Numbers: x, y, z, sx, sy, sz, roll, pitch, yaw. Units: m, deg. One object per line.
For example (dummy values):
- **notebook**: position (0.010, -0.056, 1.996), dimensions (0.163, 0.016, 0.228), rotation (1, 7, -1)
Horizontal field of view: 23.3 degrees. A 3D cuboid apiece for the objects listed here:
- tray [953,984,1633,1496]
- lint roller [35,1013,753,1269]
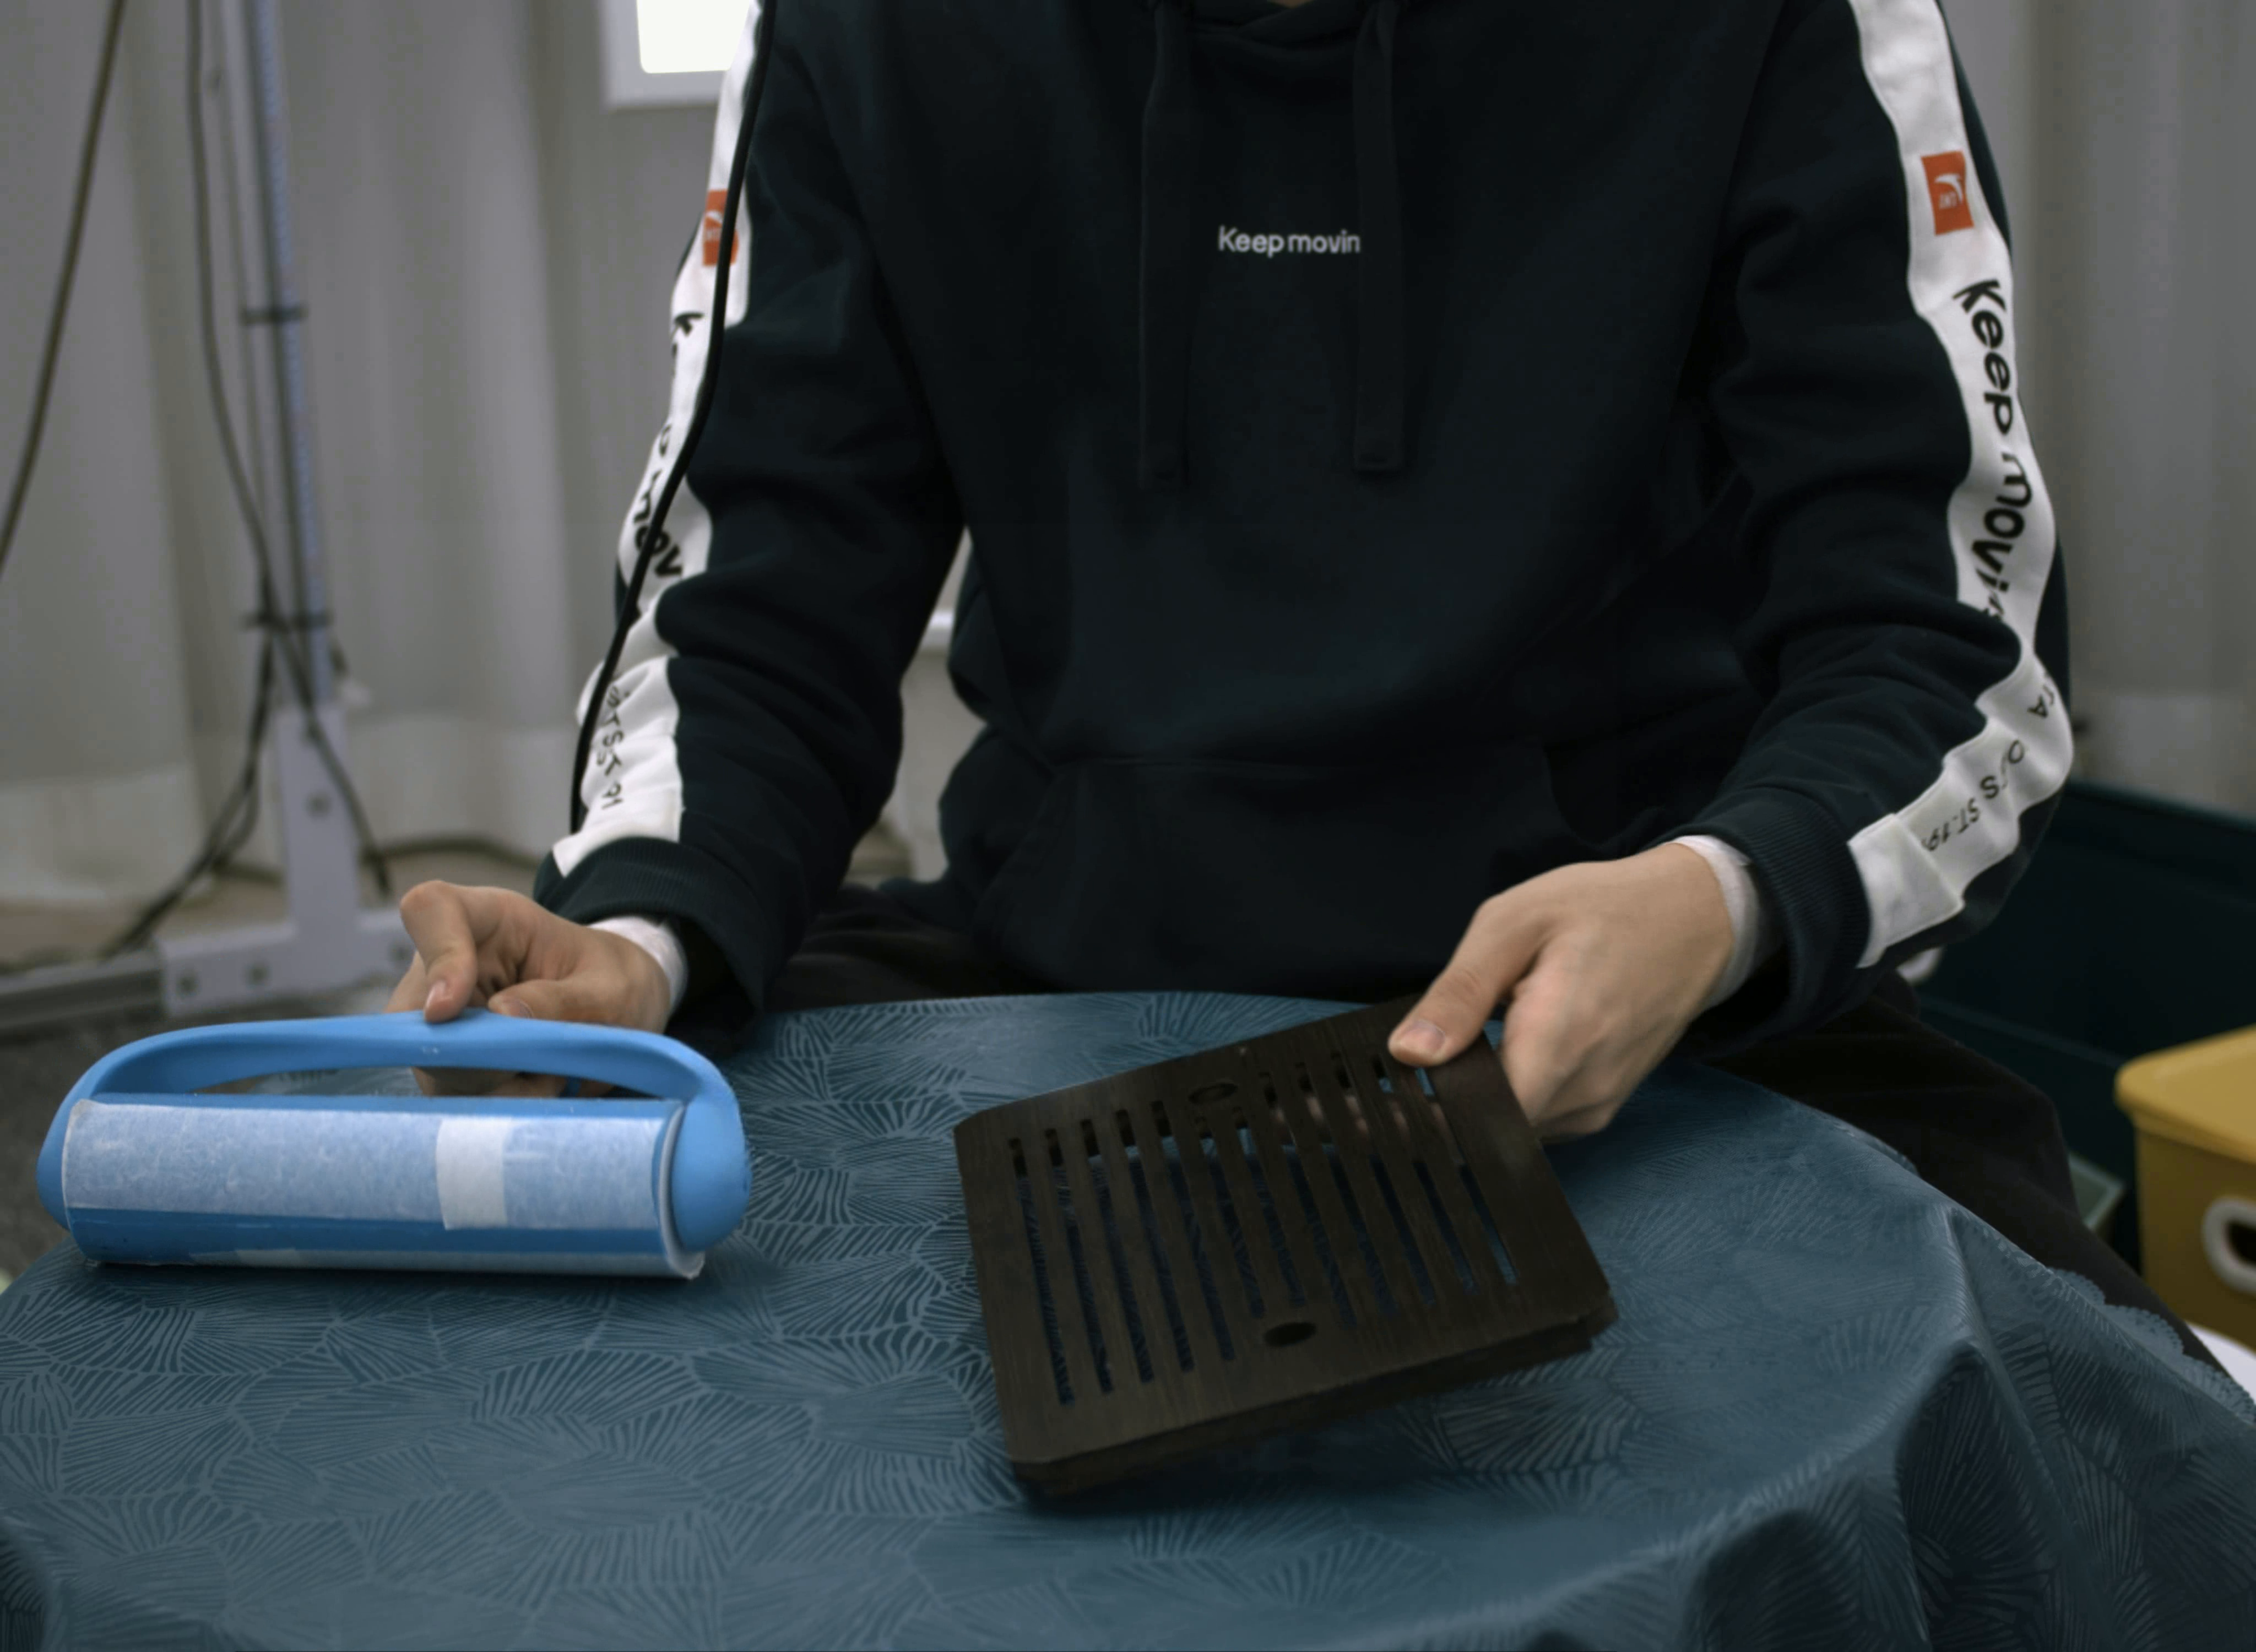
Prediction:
- **tray**: position (0.041, 0.117, 1.597), dimensions (0.169, 0.018, 0.308), rotation (-16, 15, -1)
- **lint roller**: position (-0.215, 0.089, 1.728), dimensions (0.228, 0.067, 0.181), rotation (-3, 17, 11)
